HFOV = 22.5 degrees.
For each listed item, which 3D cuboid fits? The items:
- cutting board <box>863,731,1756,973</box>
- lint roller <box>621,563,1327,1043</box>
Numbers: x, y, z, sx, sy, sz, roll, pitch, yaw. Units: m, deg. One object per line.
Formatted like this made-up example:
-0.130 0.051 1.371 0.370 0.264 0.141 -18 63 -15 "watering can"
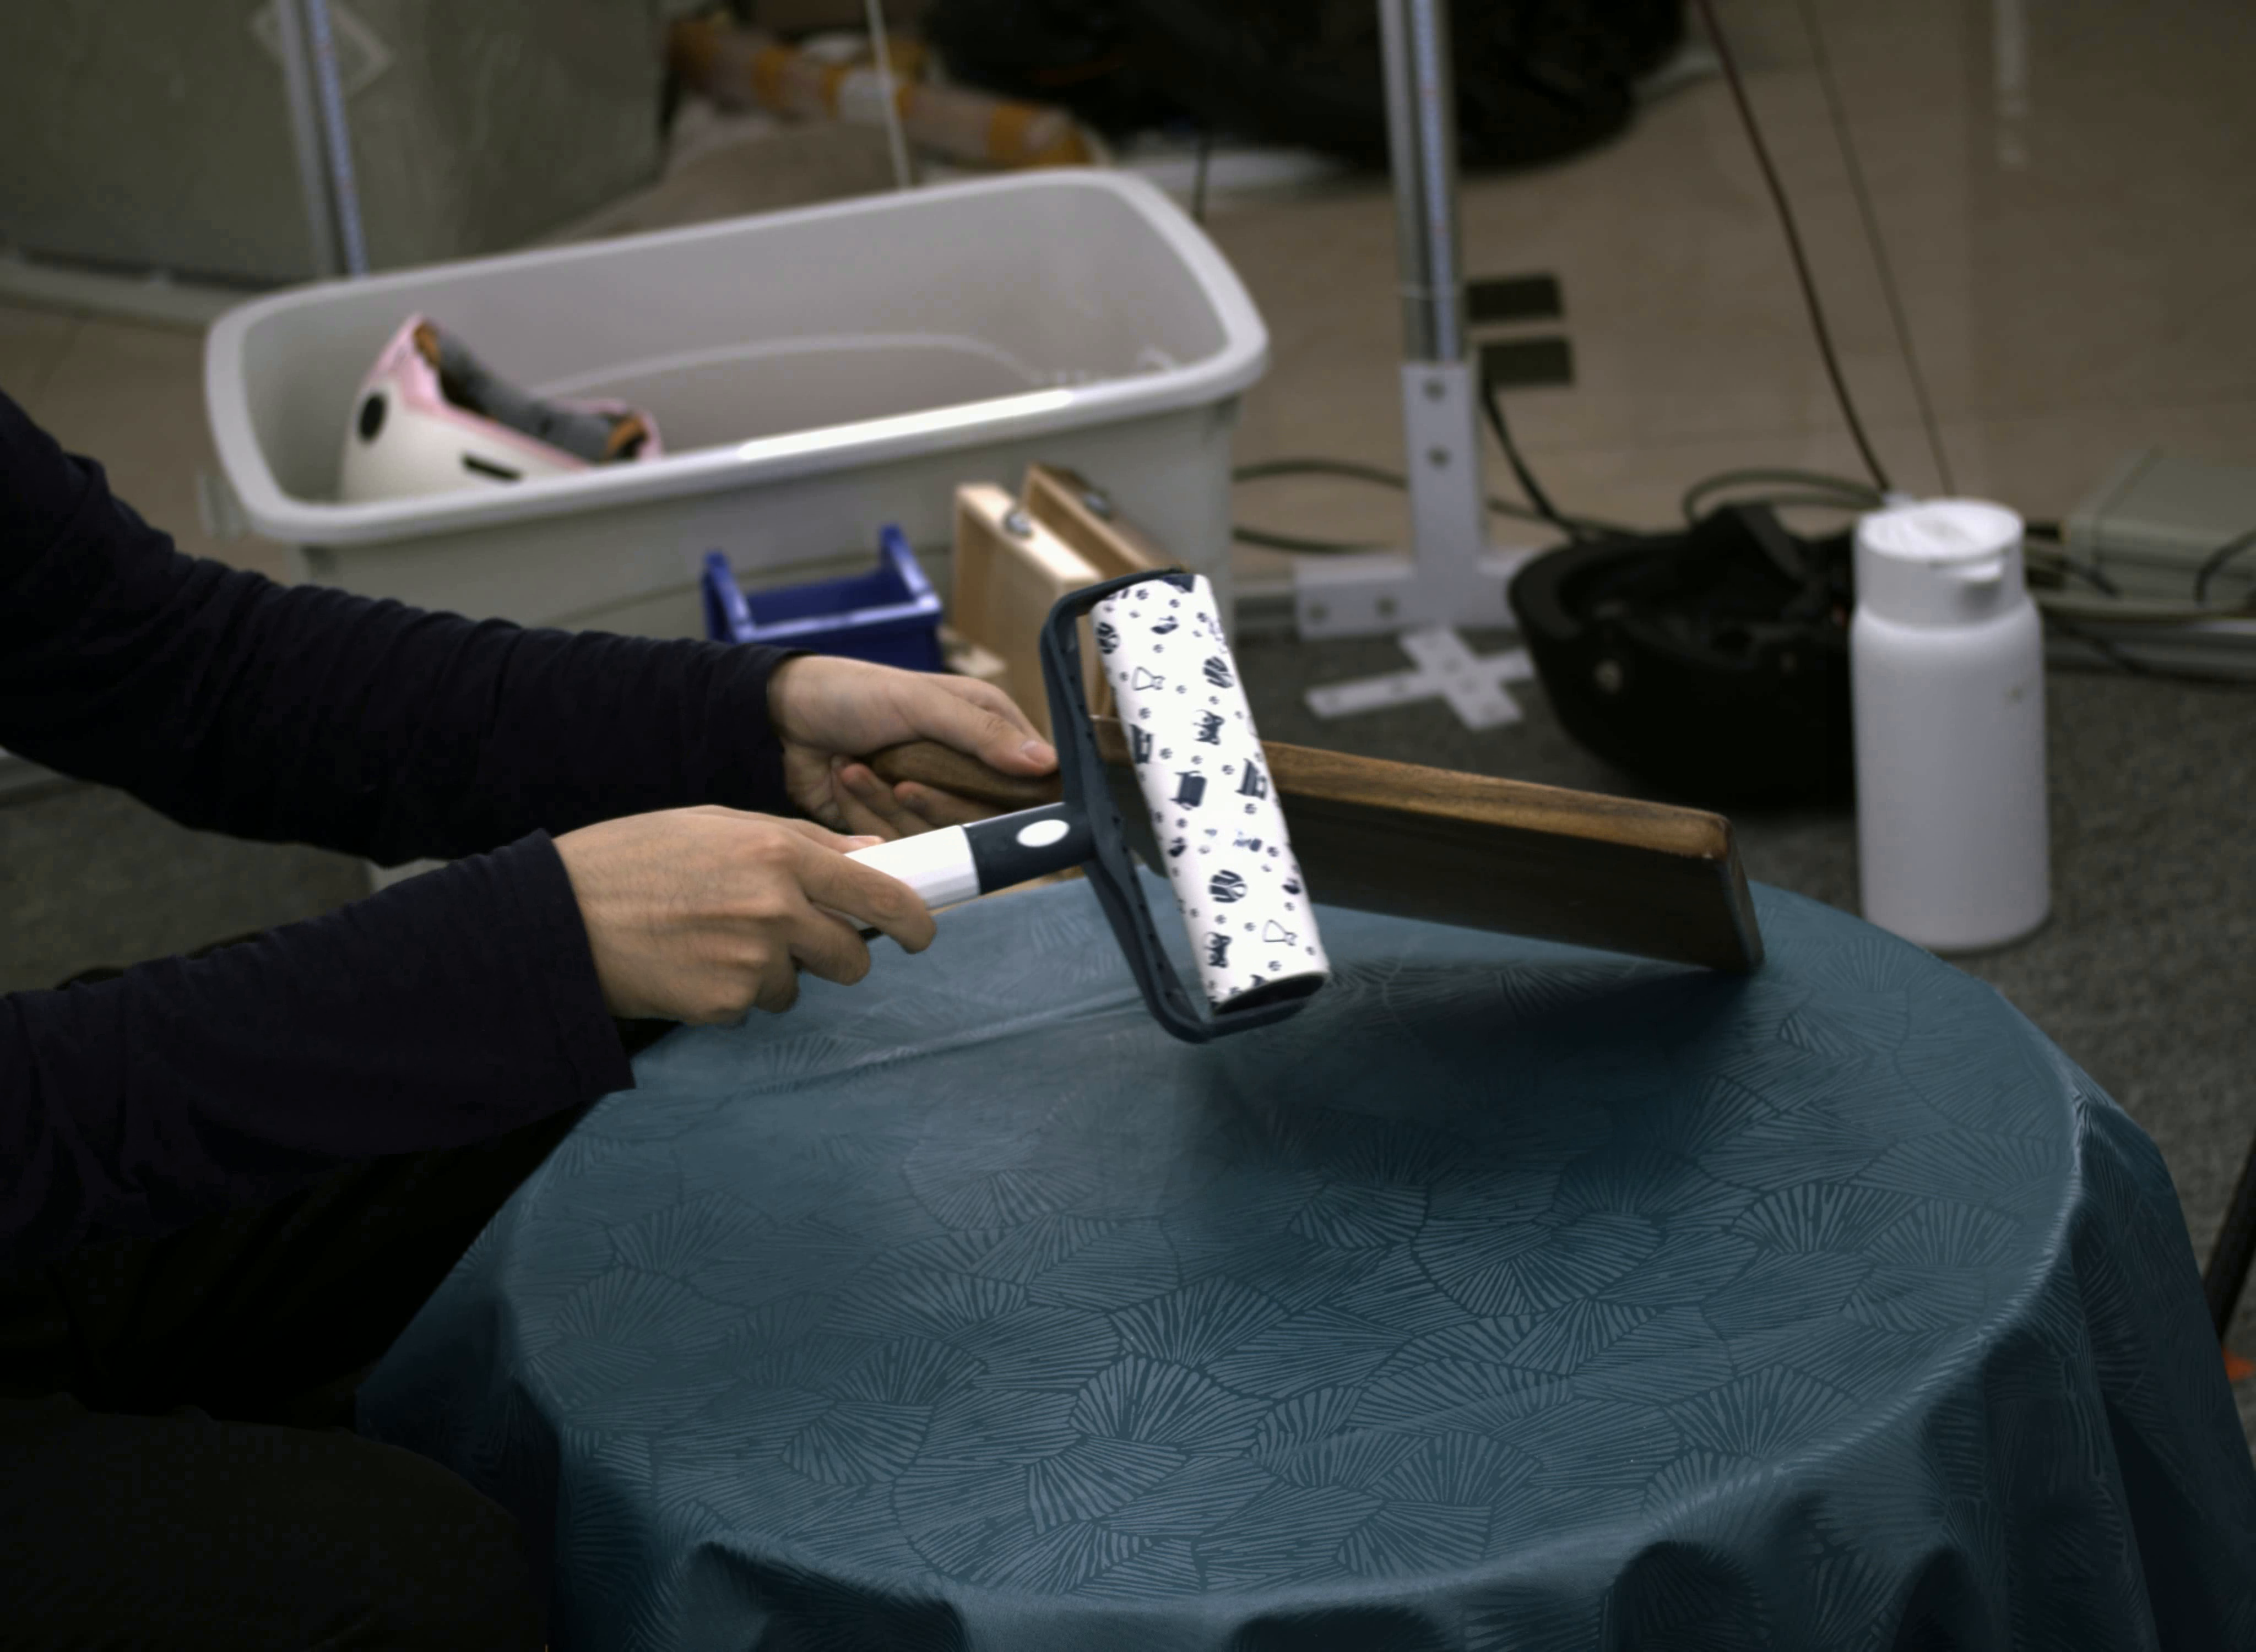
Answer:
0.068 0.001 2.207 0.351 0.023 0.202 9 -12 11 "cutting board"
-0.065 0.017 2.076 0.246 0.175 0.051 -16 -11 -8 "lint roller"
